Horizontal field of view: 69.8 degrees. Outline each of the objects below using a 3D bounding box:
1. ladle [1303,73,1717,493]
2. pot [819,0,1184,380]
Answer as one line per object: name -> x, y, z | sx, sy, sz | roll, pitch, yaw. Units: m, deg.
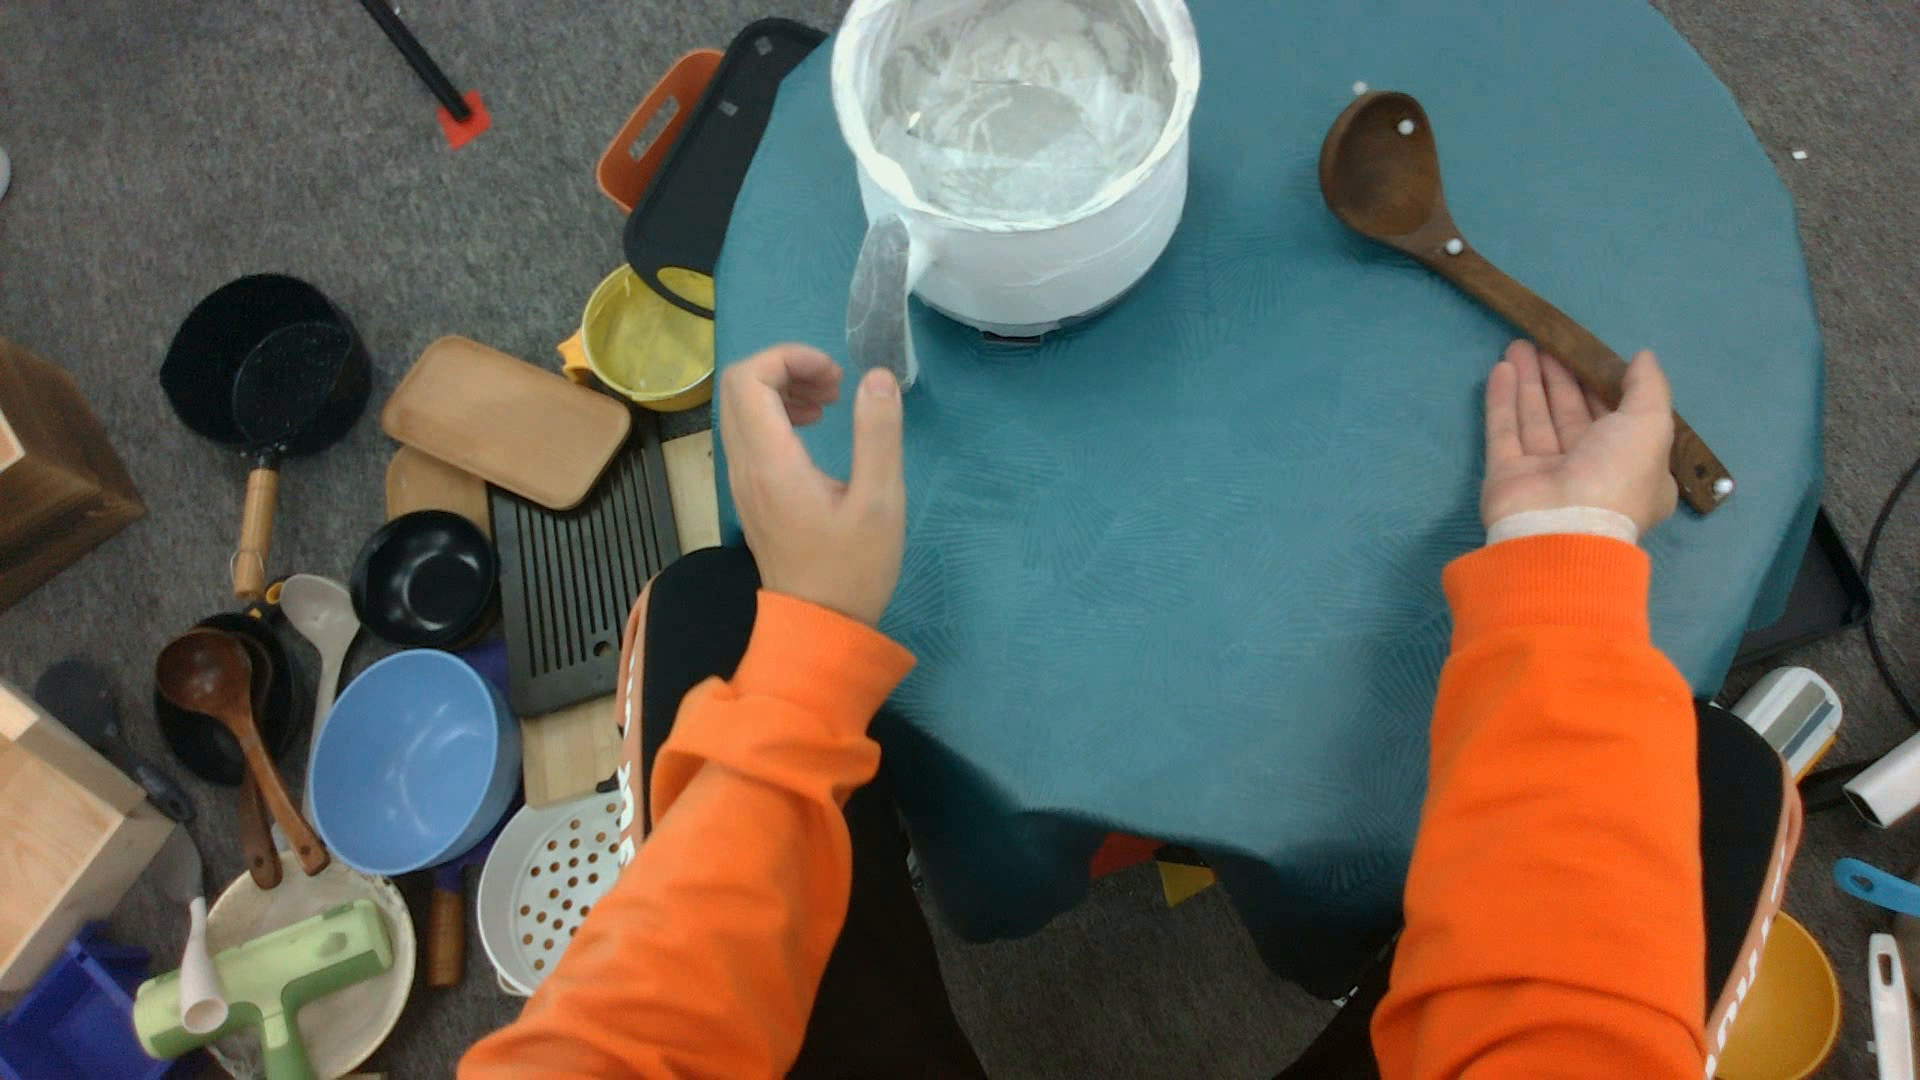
ladle -> 0.289, -0.135, 0.713 | 0.076, 0.071, 0.274 | -41, 74, -6
pot -> 0.009, -0.194, 0.718 | 0.179, 0.136, 0.234 | 31, 78, 13
